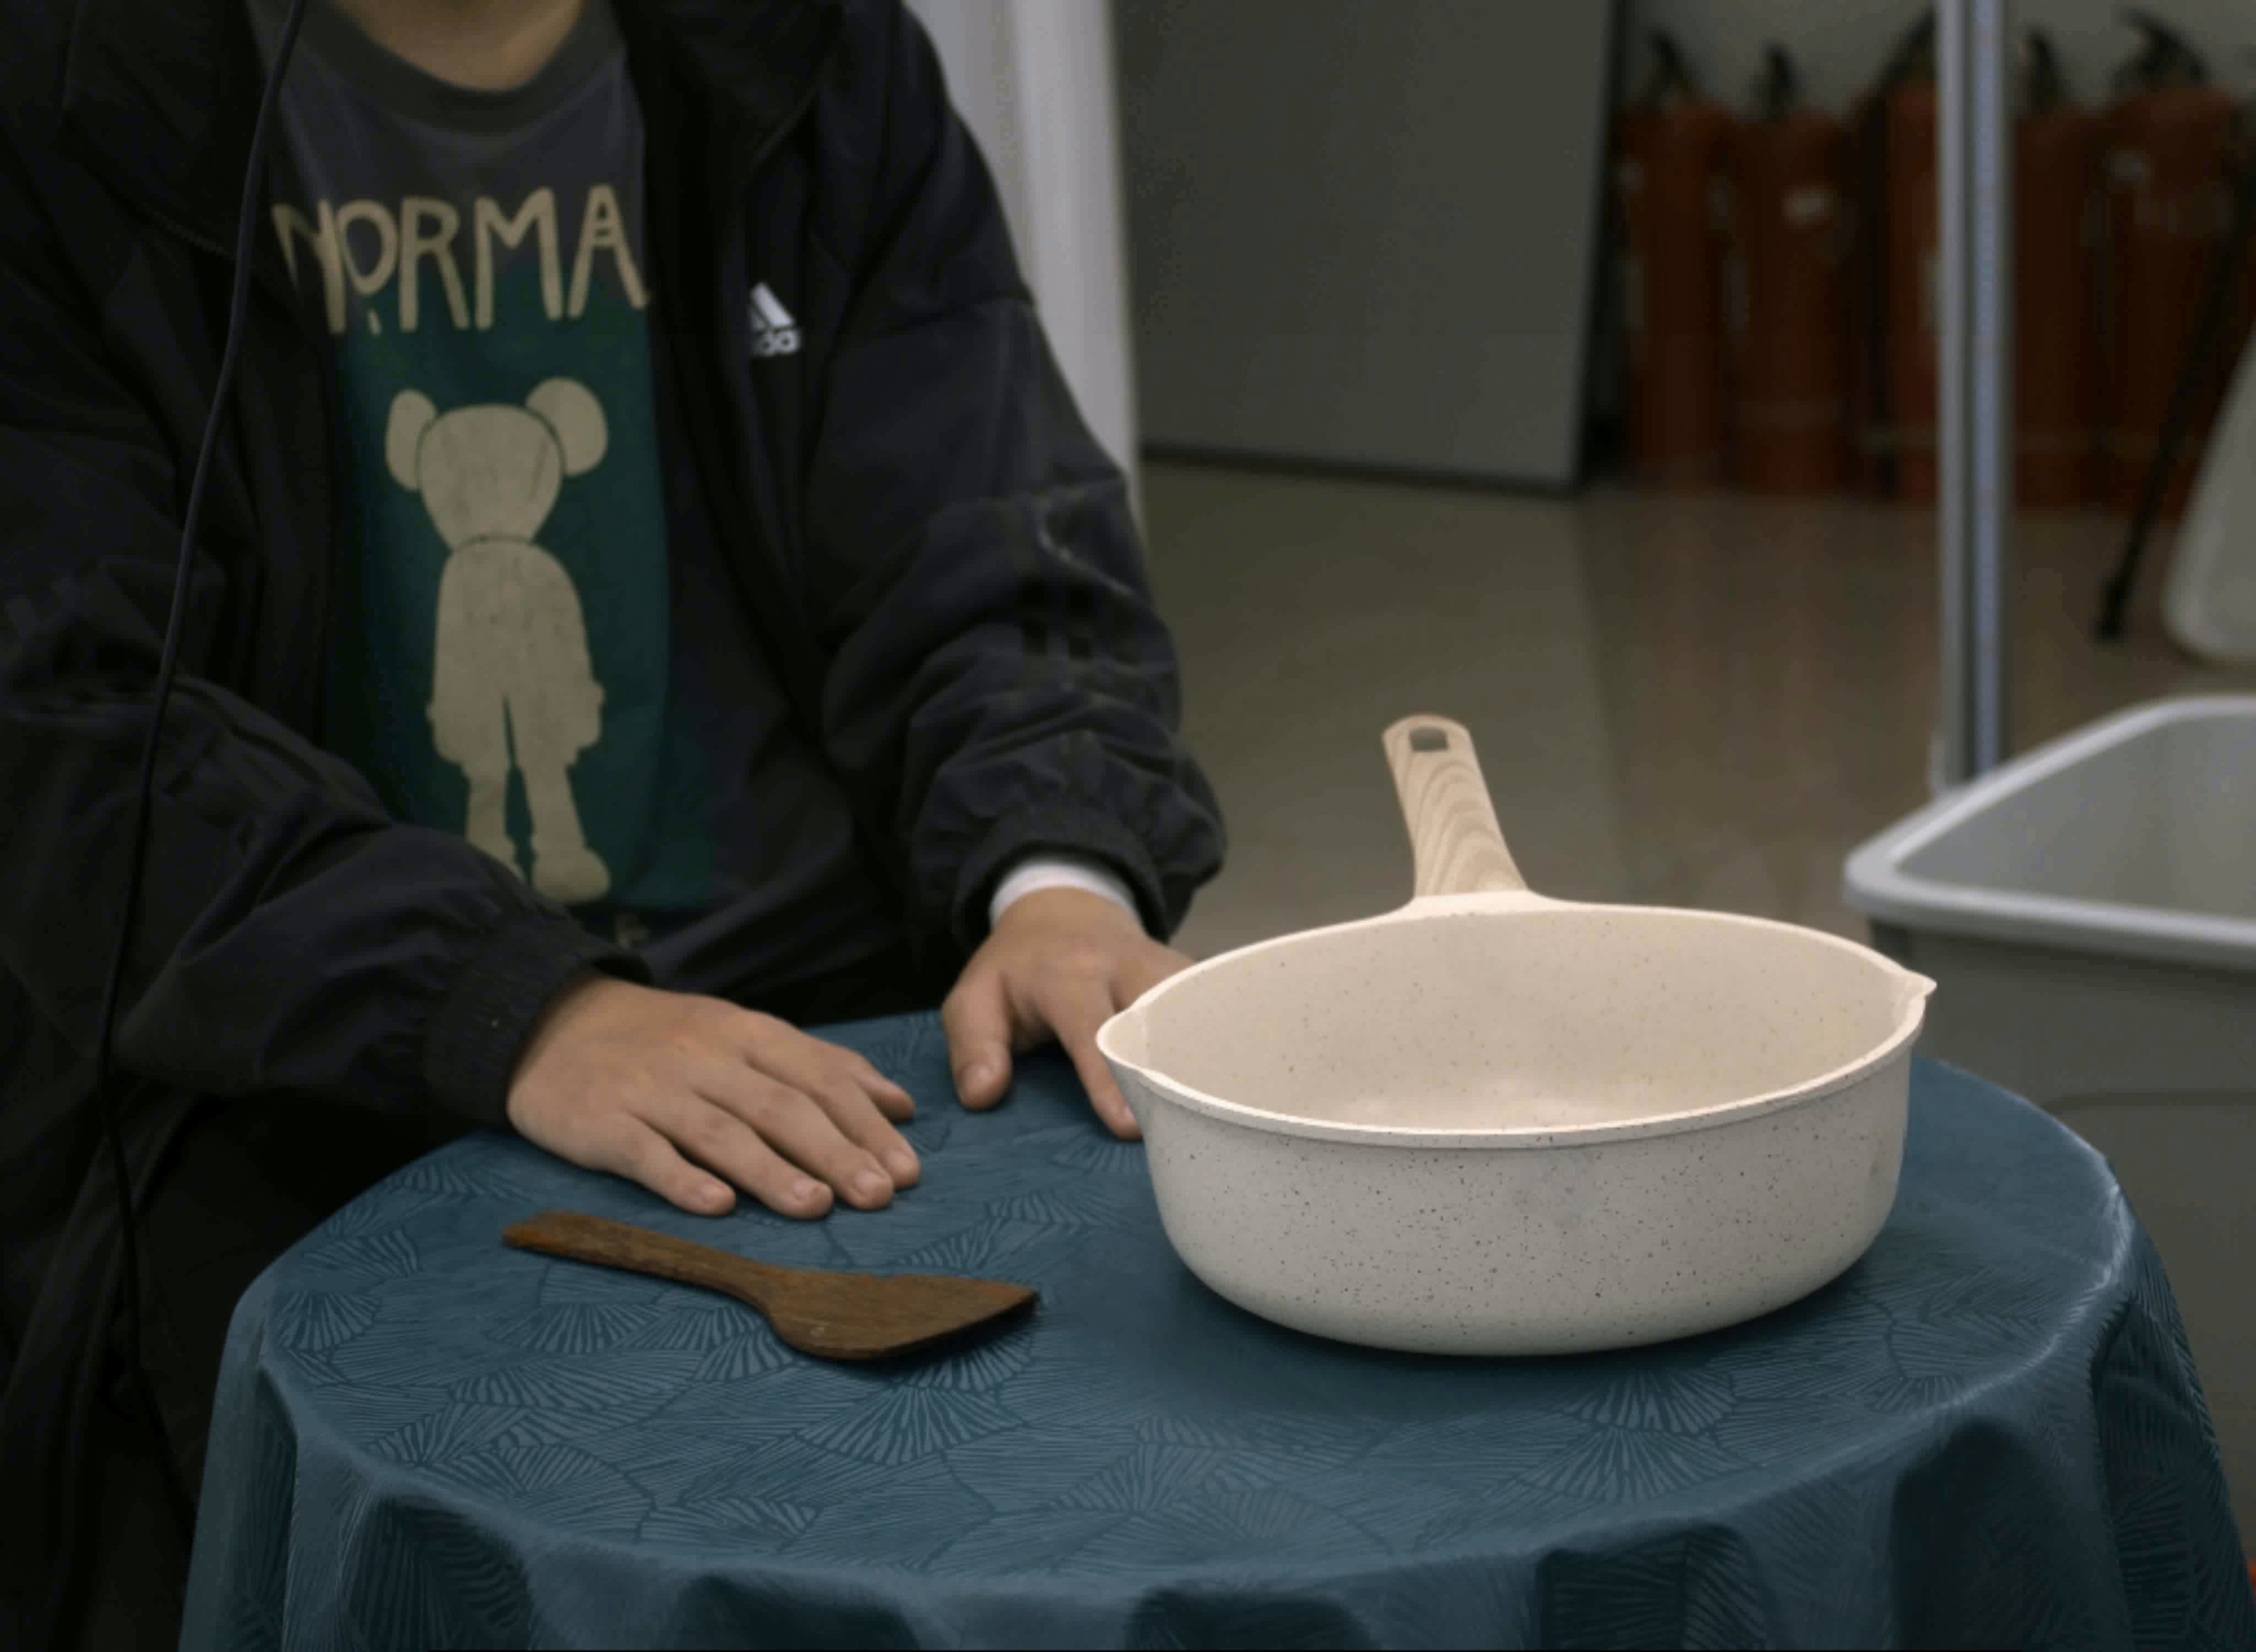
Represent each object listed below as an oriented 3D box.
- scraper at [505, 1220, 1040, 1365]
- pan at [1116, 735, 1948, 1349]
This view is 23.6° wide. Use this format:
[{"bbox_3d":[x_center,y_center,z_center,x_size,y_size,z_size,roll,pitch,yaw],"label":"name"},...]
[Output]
[{"bbox_3d":[-0.121,0.144,1.702,0.213,0.011,0.074,8,17,44],"label":"scraper"},{"bbox_3d":[0.123,0.065,1.758,0.260,0.103,0.436,-6,13,-1],"label":"pan"}]
